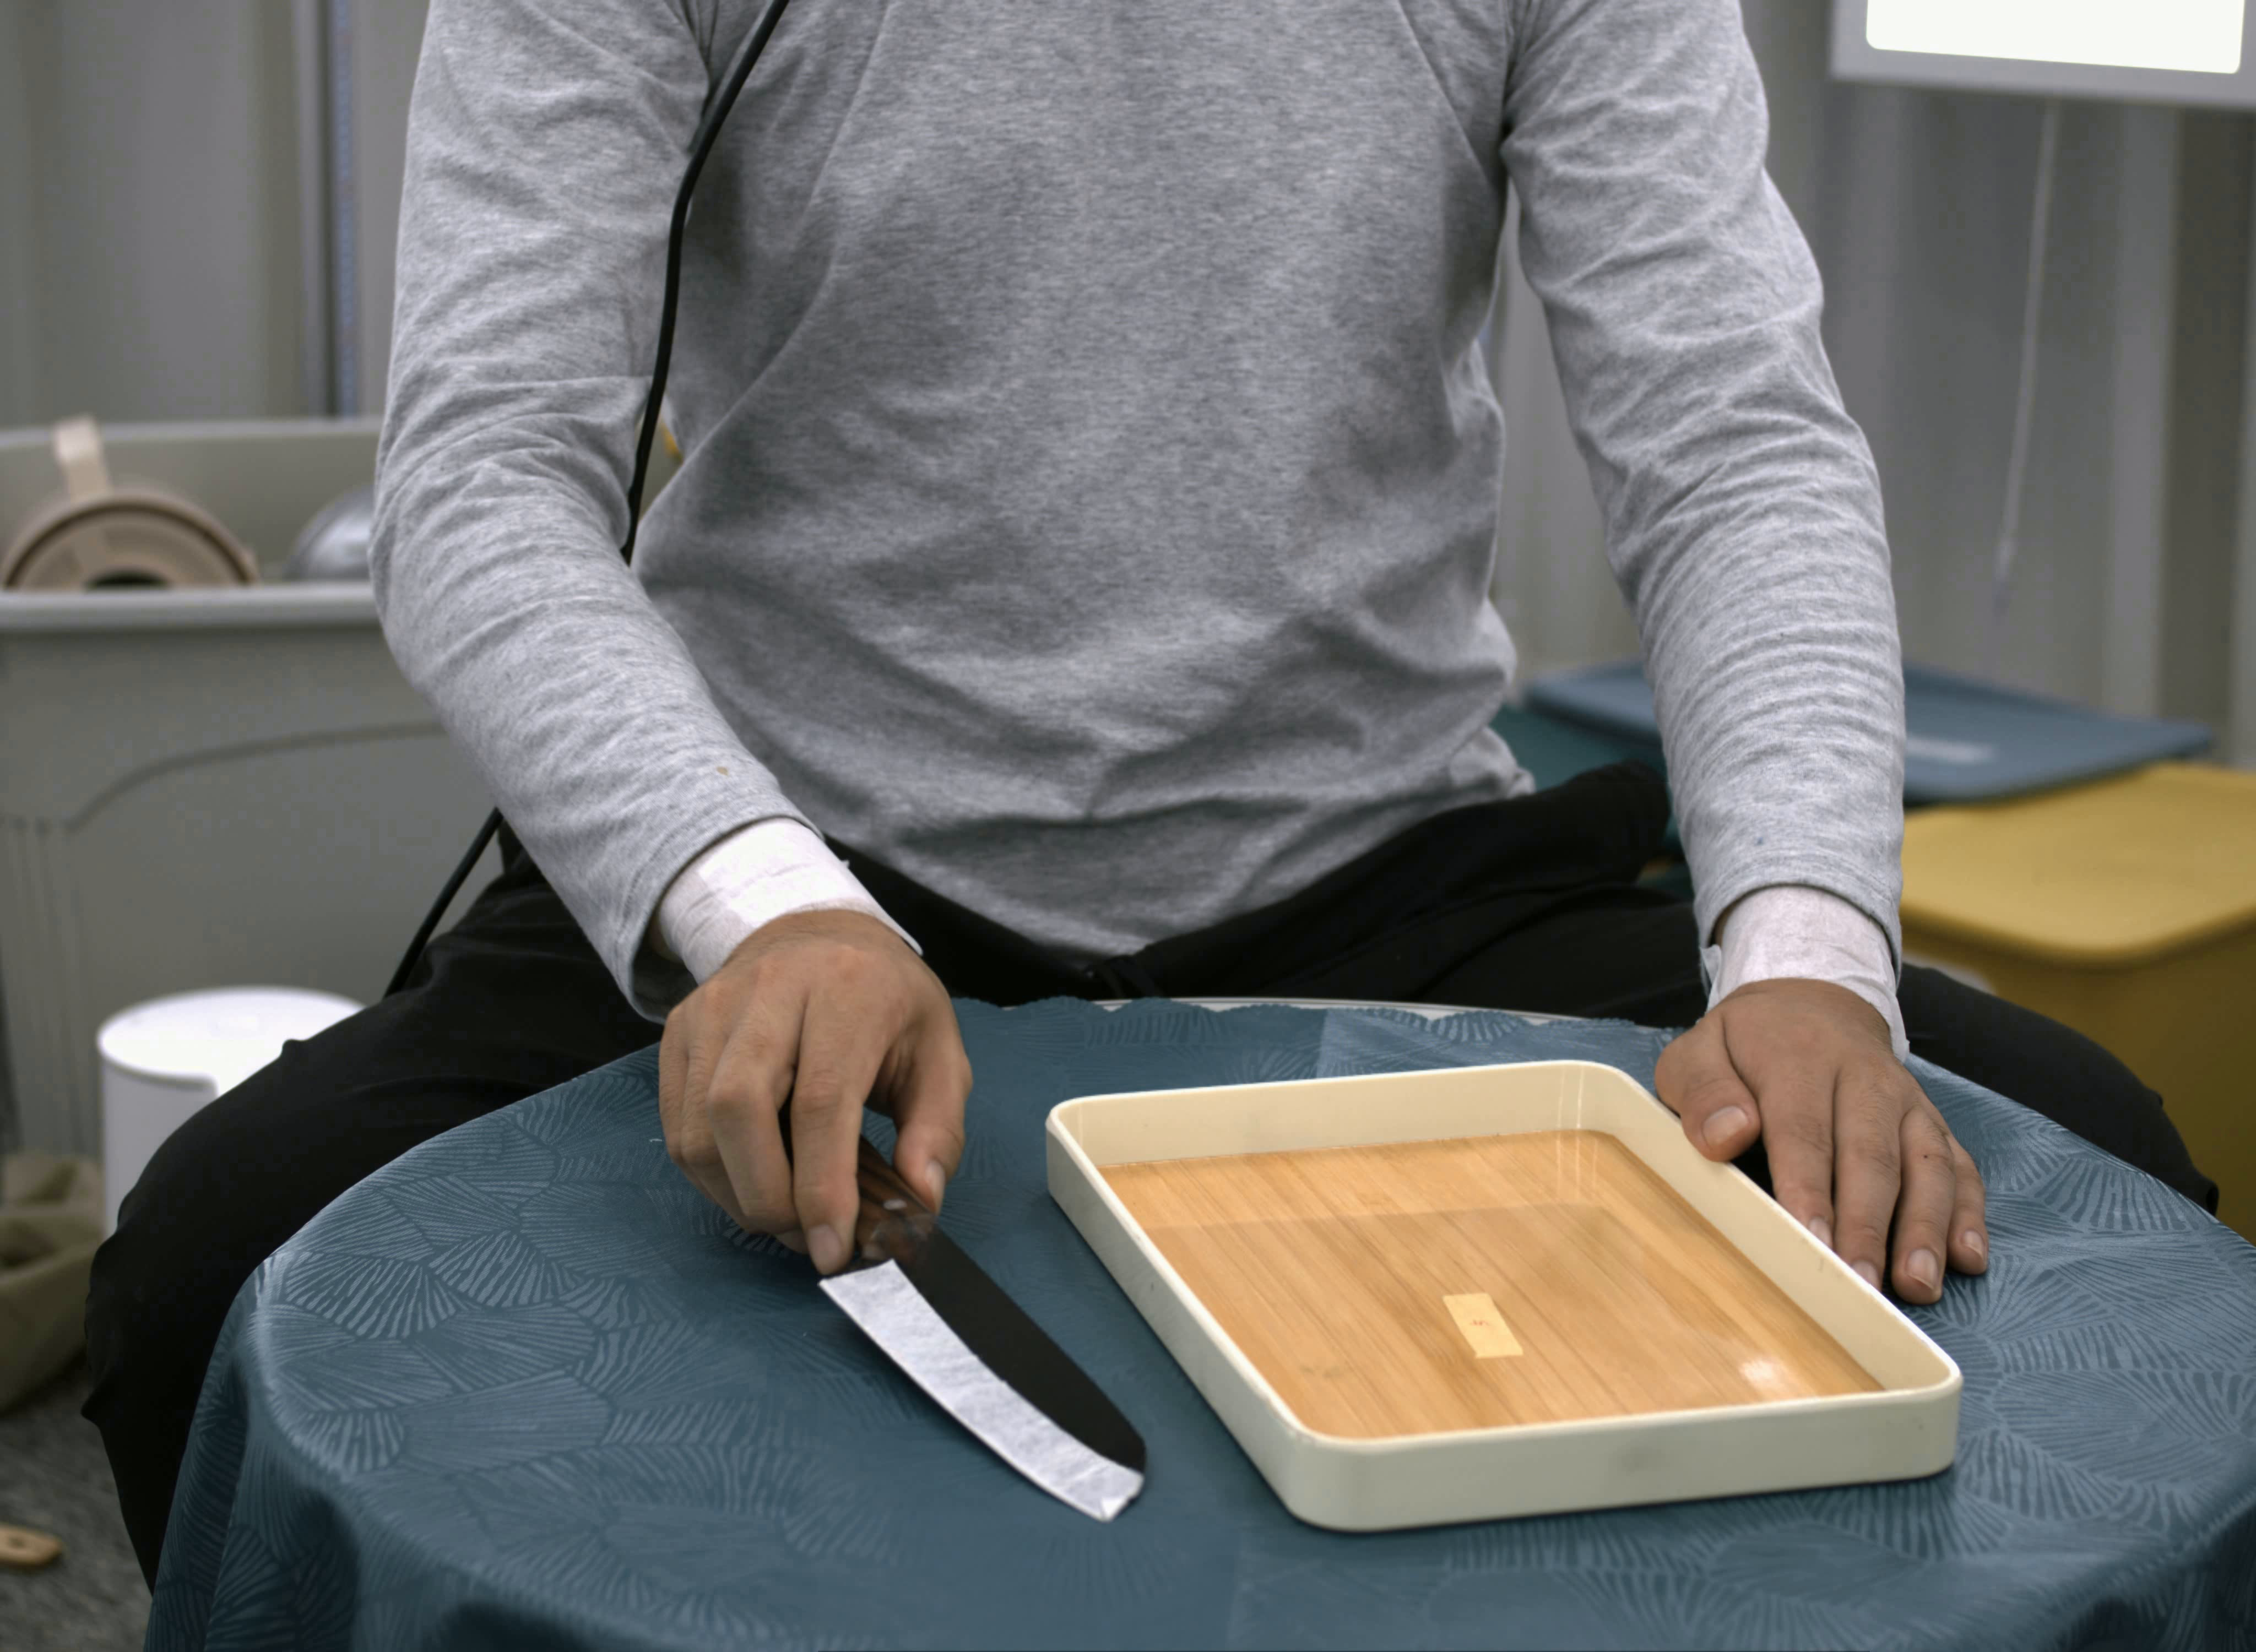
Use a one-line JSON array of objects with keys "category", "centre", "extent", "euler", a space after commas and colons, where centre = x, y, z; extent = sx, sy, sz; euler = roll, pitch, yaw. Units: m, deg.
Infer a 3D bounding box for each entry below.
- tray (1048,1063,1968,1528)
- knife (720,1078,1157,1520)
[{"category": "tray", "centre": [0.100, 0.129, 1.518], "extent": [0.192, 0.027, 0.297], "euler": [-3, 16, -14]}, {"category": "knife", "centre": [-0.058, 0.133, 1.495], "extent": [0.050, 0.020, 0.285], "euler": [-15, 25, -19]}]
